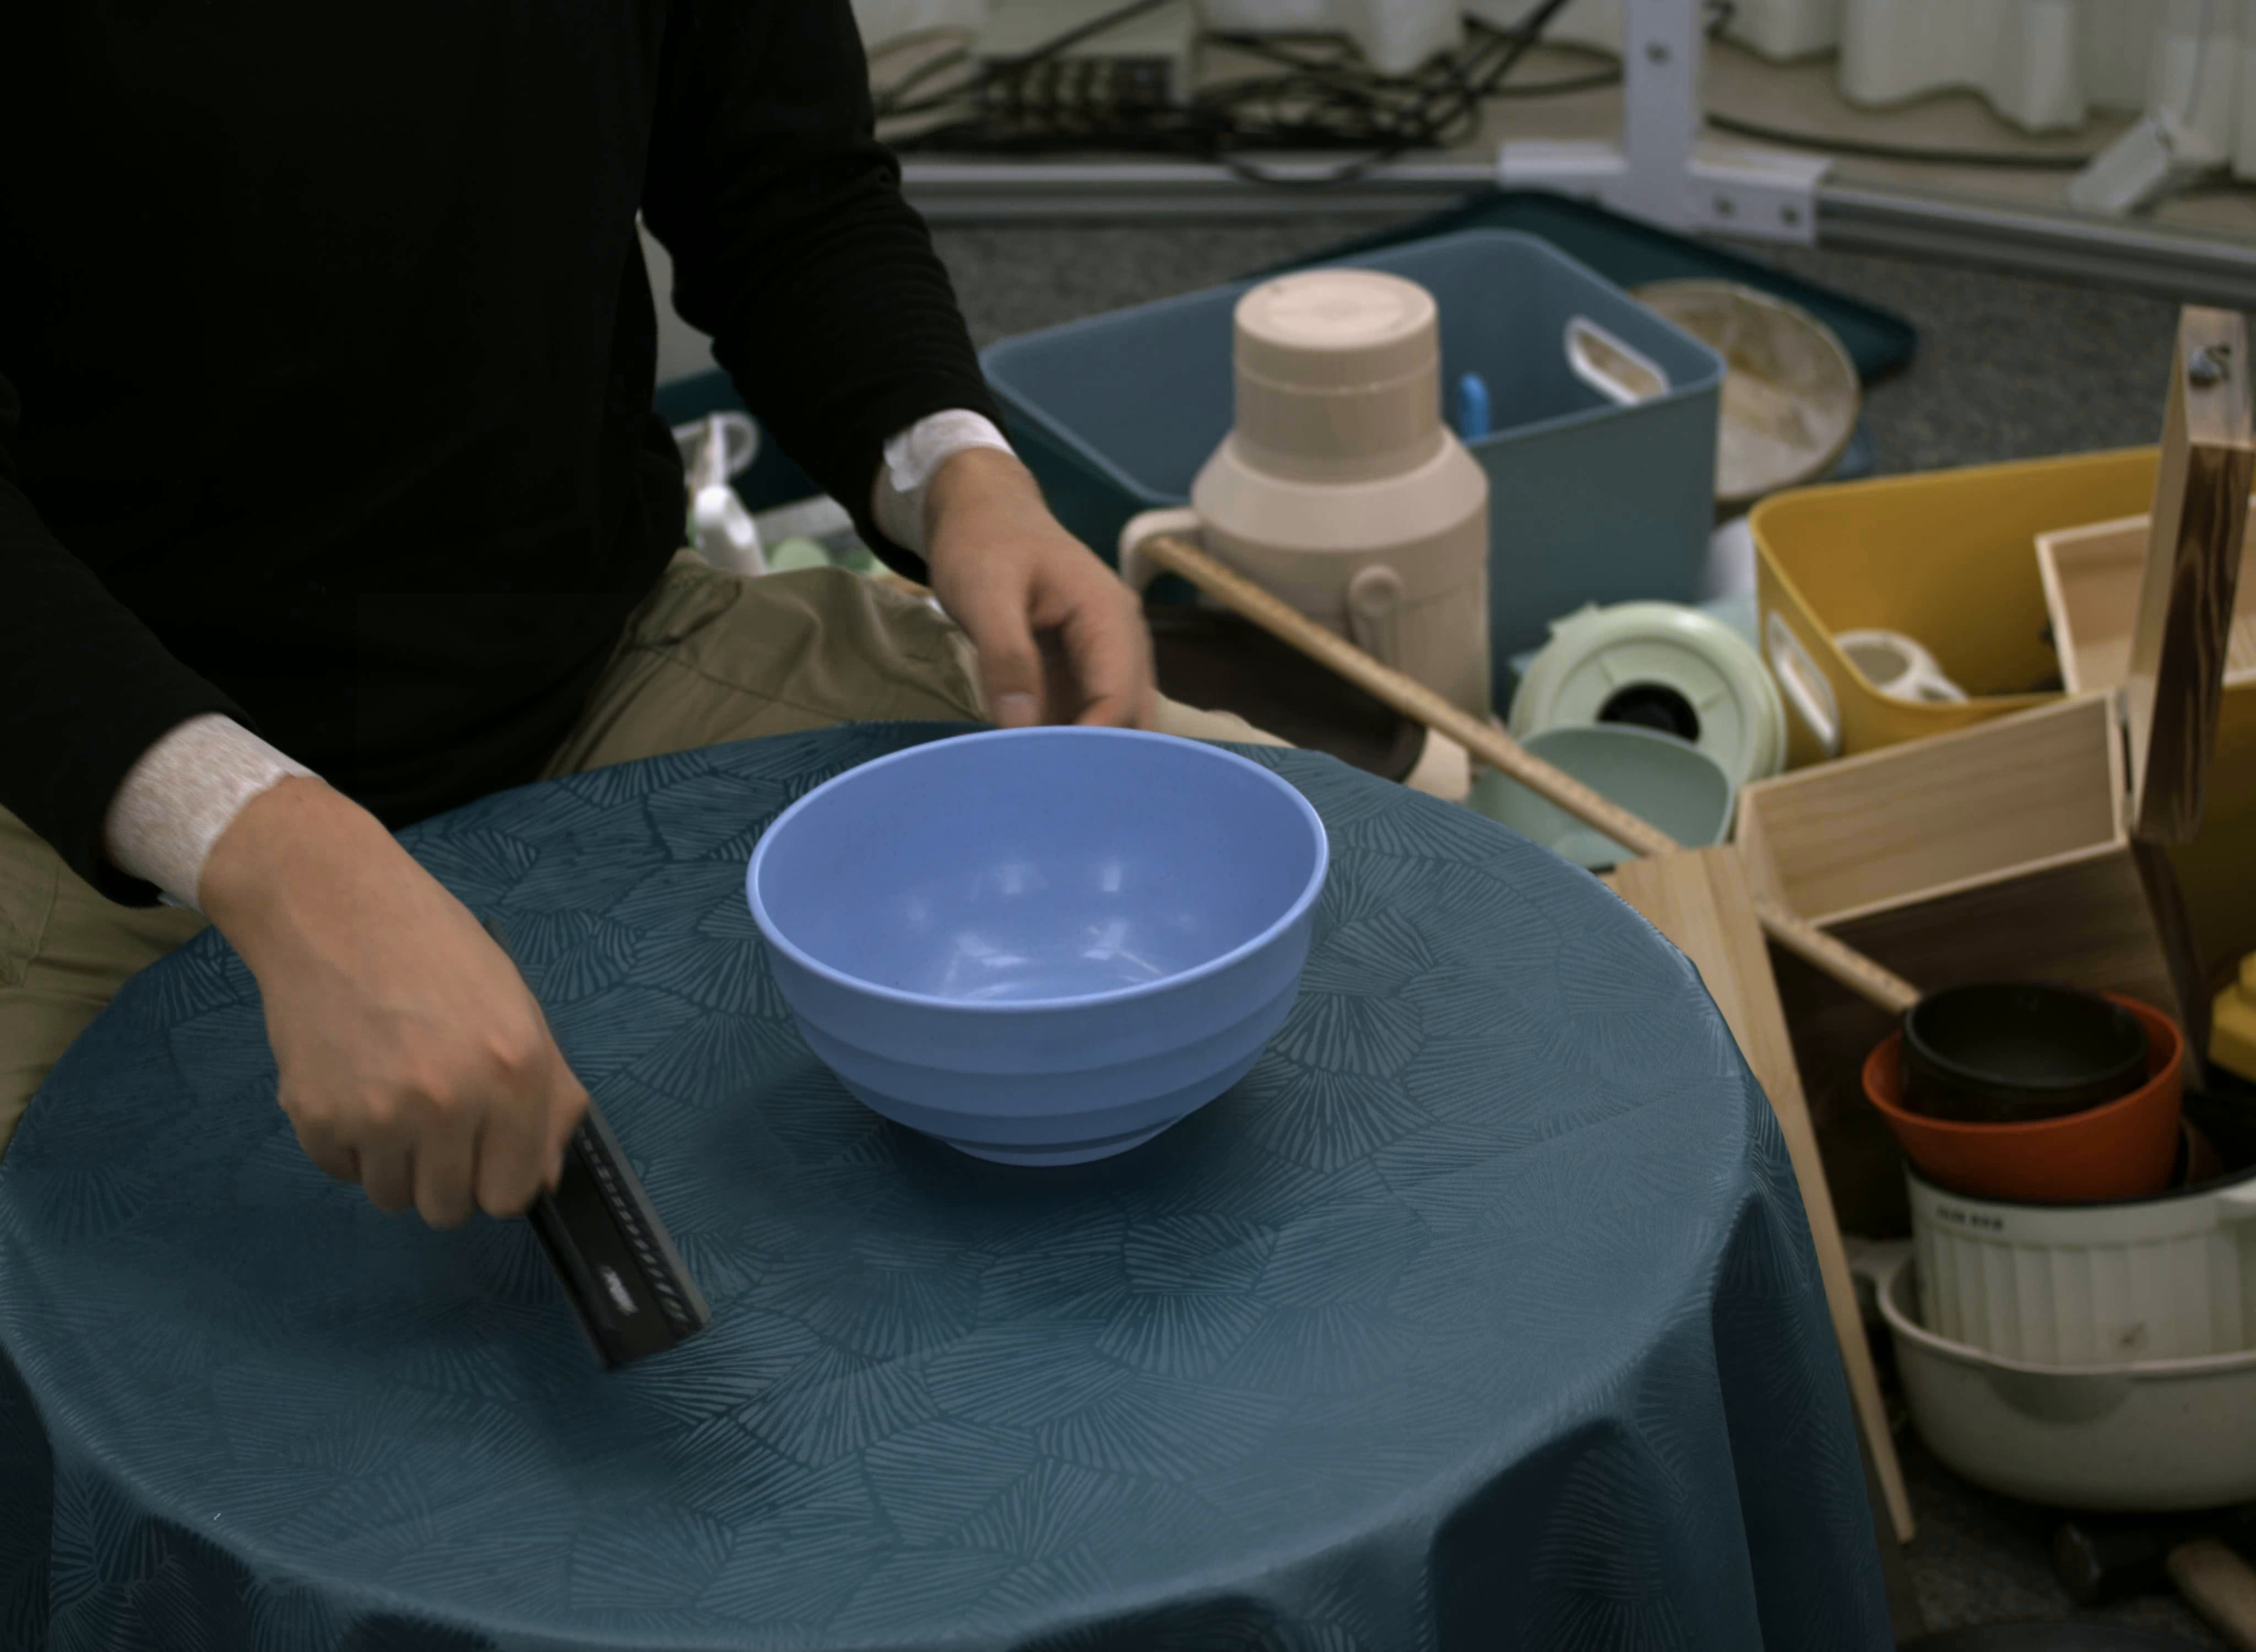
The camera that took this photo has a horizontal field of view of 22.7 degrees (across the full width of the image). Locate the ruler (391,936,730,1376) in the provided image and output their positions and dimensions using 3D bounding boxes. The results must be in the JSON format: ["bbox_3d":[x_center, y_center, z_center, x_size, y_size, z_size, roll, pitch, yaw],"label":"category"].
[{"bbox_3d":[-0.190,0.098,1.838,0.039,0.017,0.315,-17,27,-14],"label":"ruler"}]

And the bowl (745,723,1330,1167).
[{"bbox_3d":[-0.028,0.051,1.897,0.195,0.094,0.199,-2,28,1],"label":"bowl"}]
